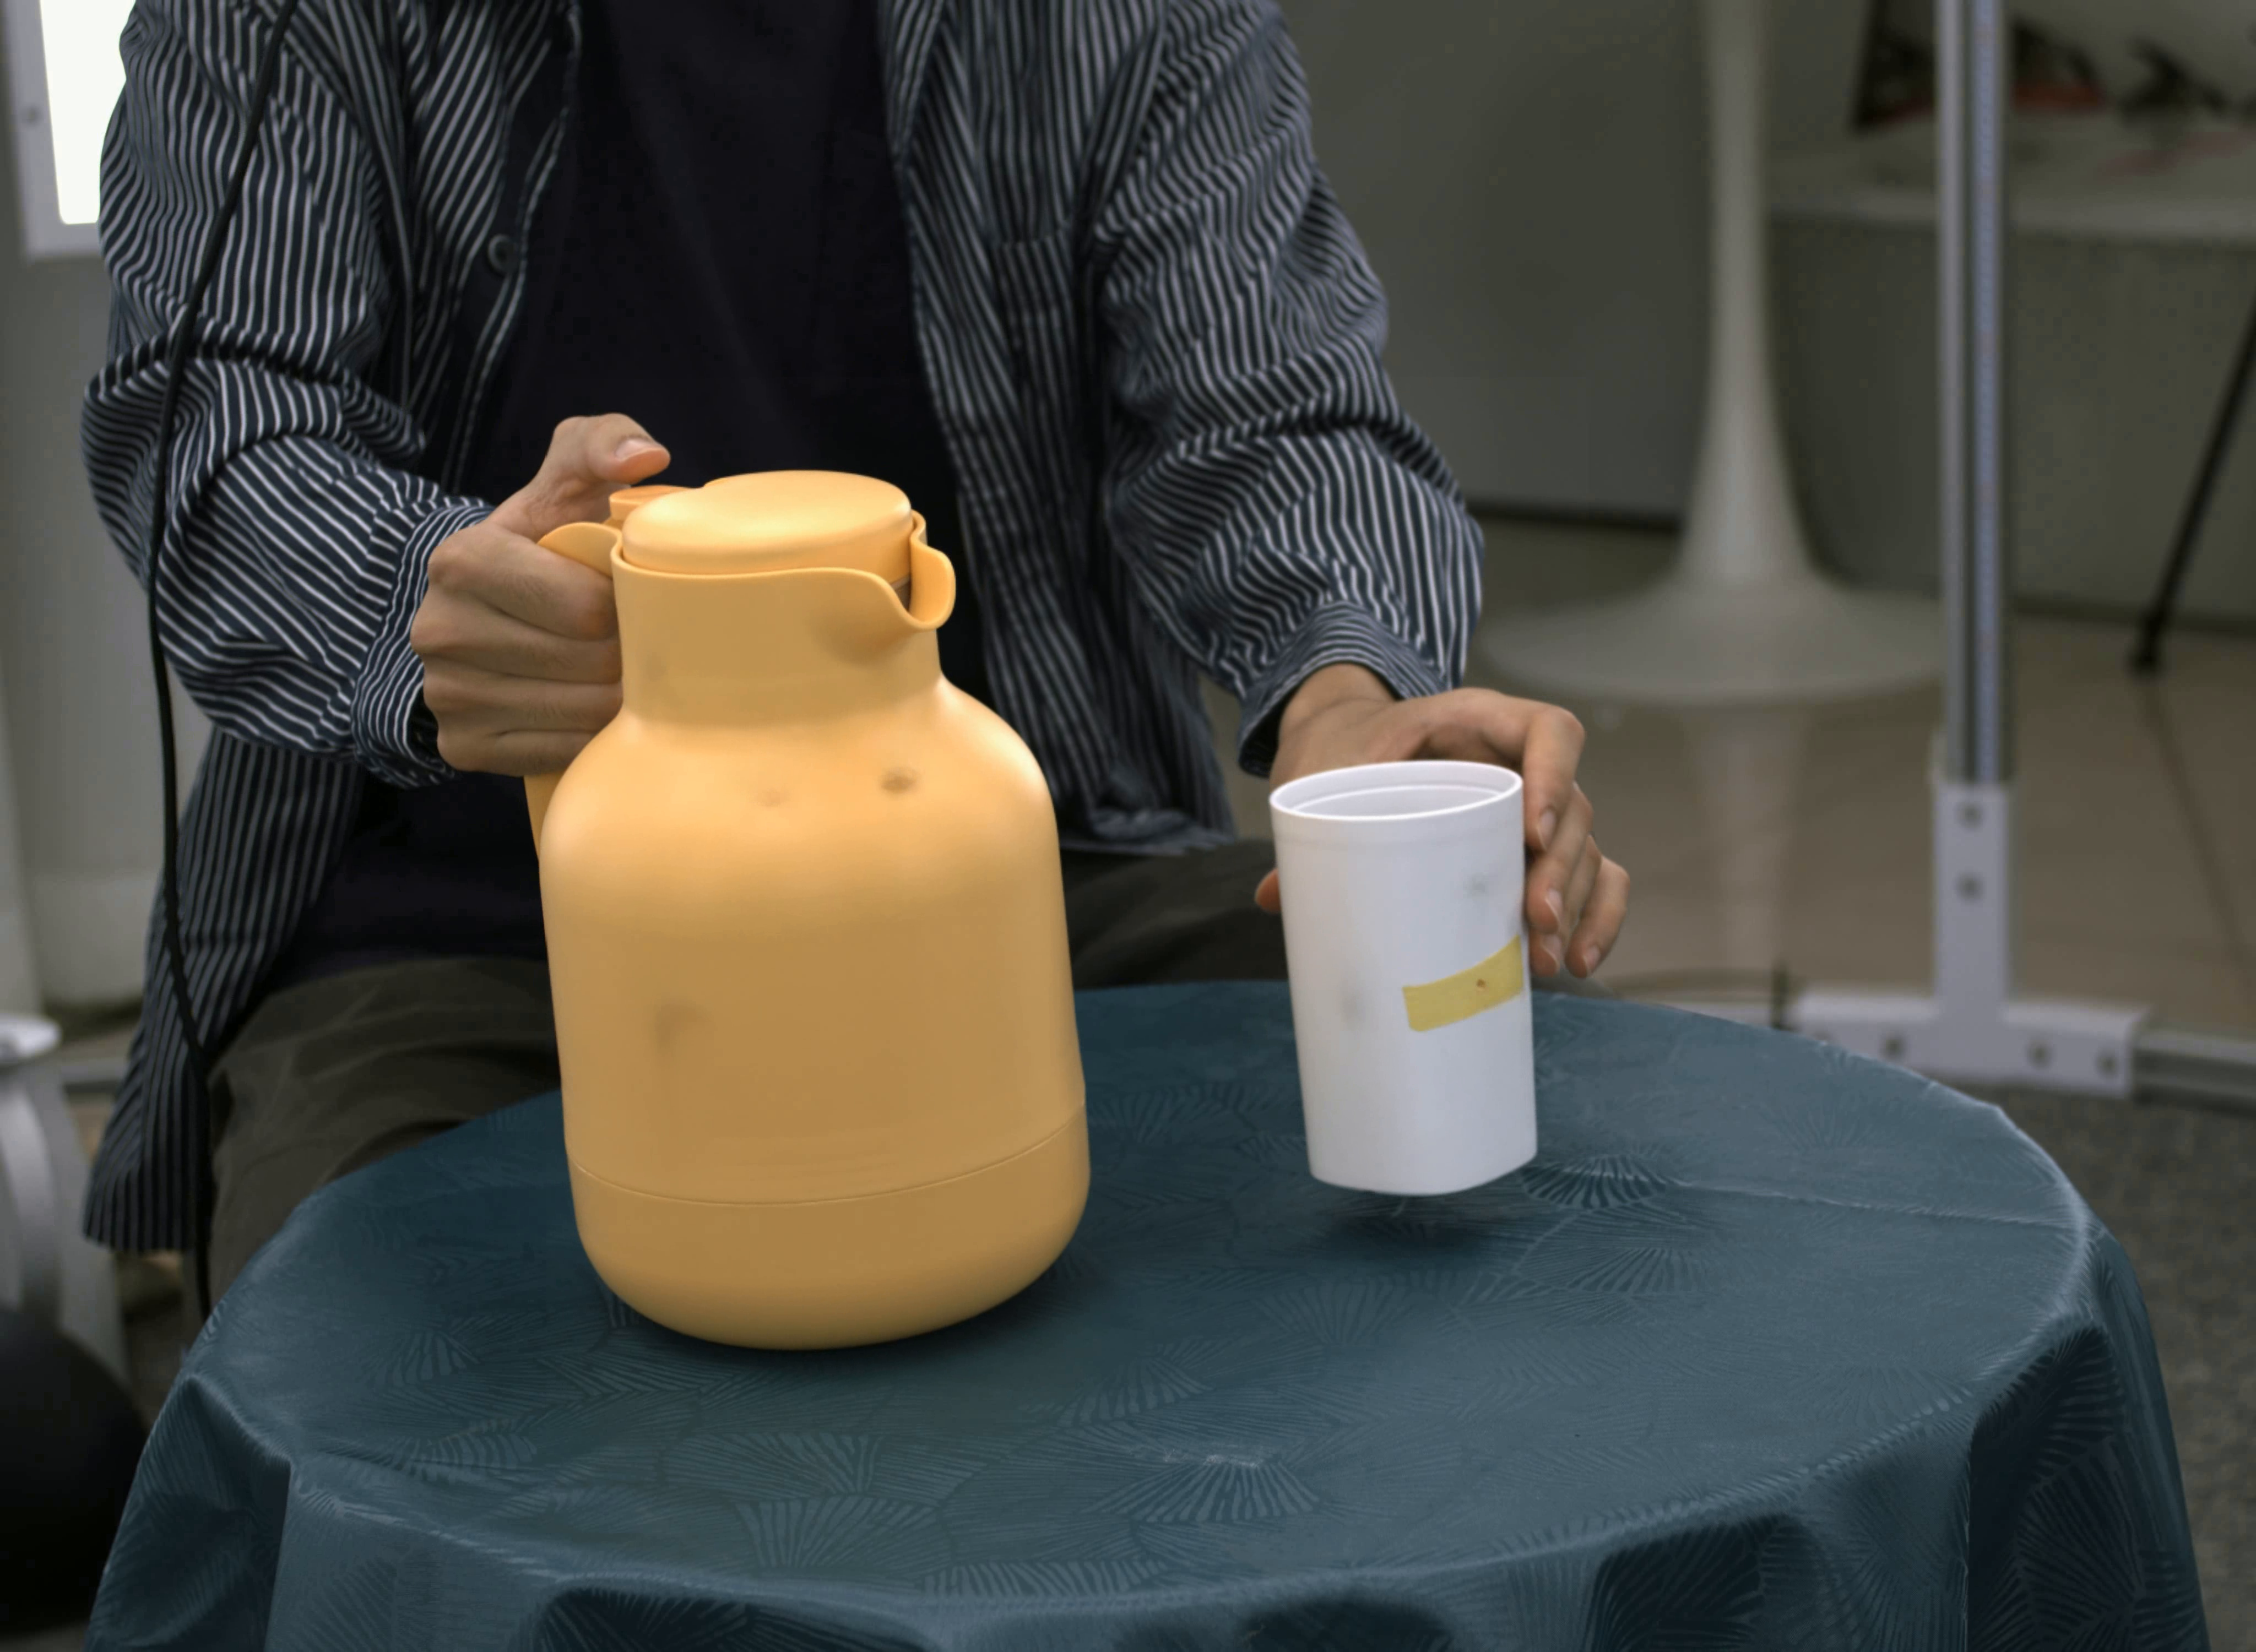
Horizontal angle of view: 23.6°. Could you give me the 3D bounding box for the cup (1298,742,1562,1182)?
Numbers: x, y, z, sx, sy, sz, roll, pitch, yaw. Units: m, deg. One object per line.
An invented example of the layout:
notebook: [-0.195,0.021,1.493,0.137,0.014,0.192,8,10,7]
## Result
cup: [0.099,0.043,1.709,0.080,0.127,0.082,-5,11,0]

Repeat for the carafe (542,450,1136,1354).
carafe: [-0.098,0.016,1.666,0.204,0.263,0.160,10,20,44]
